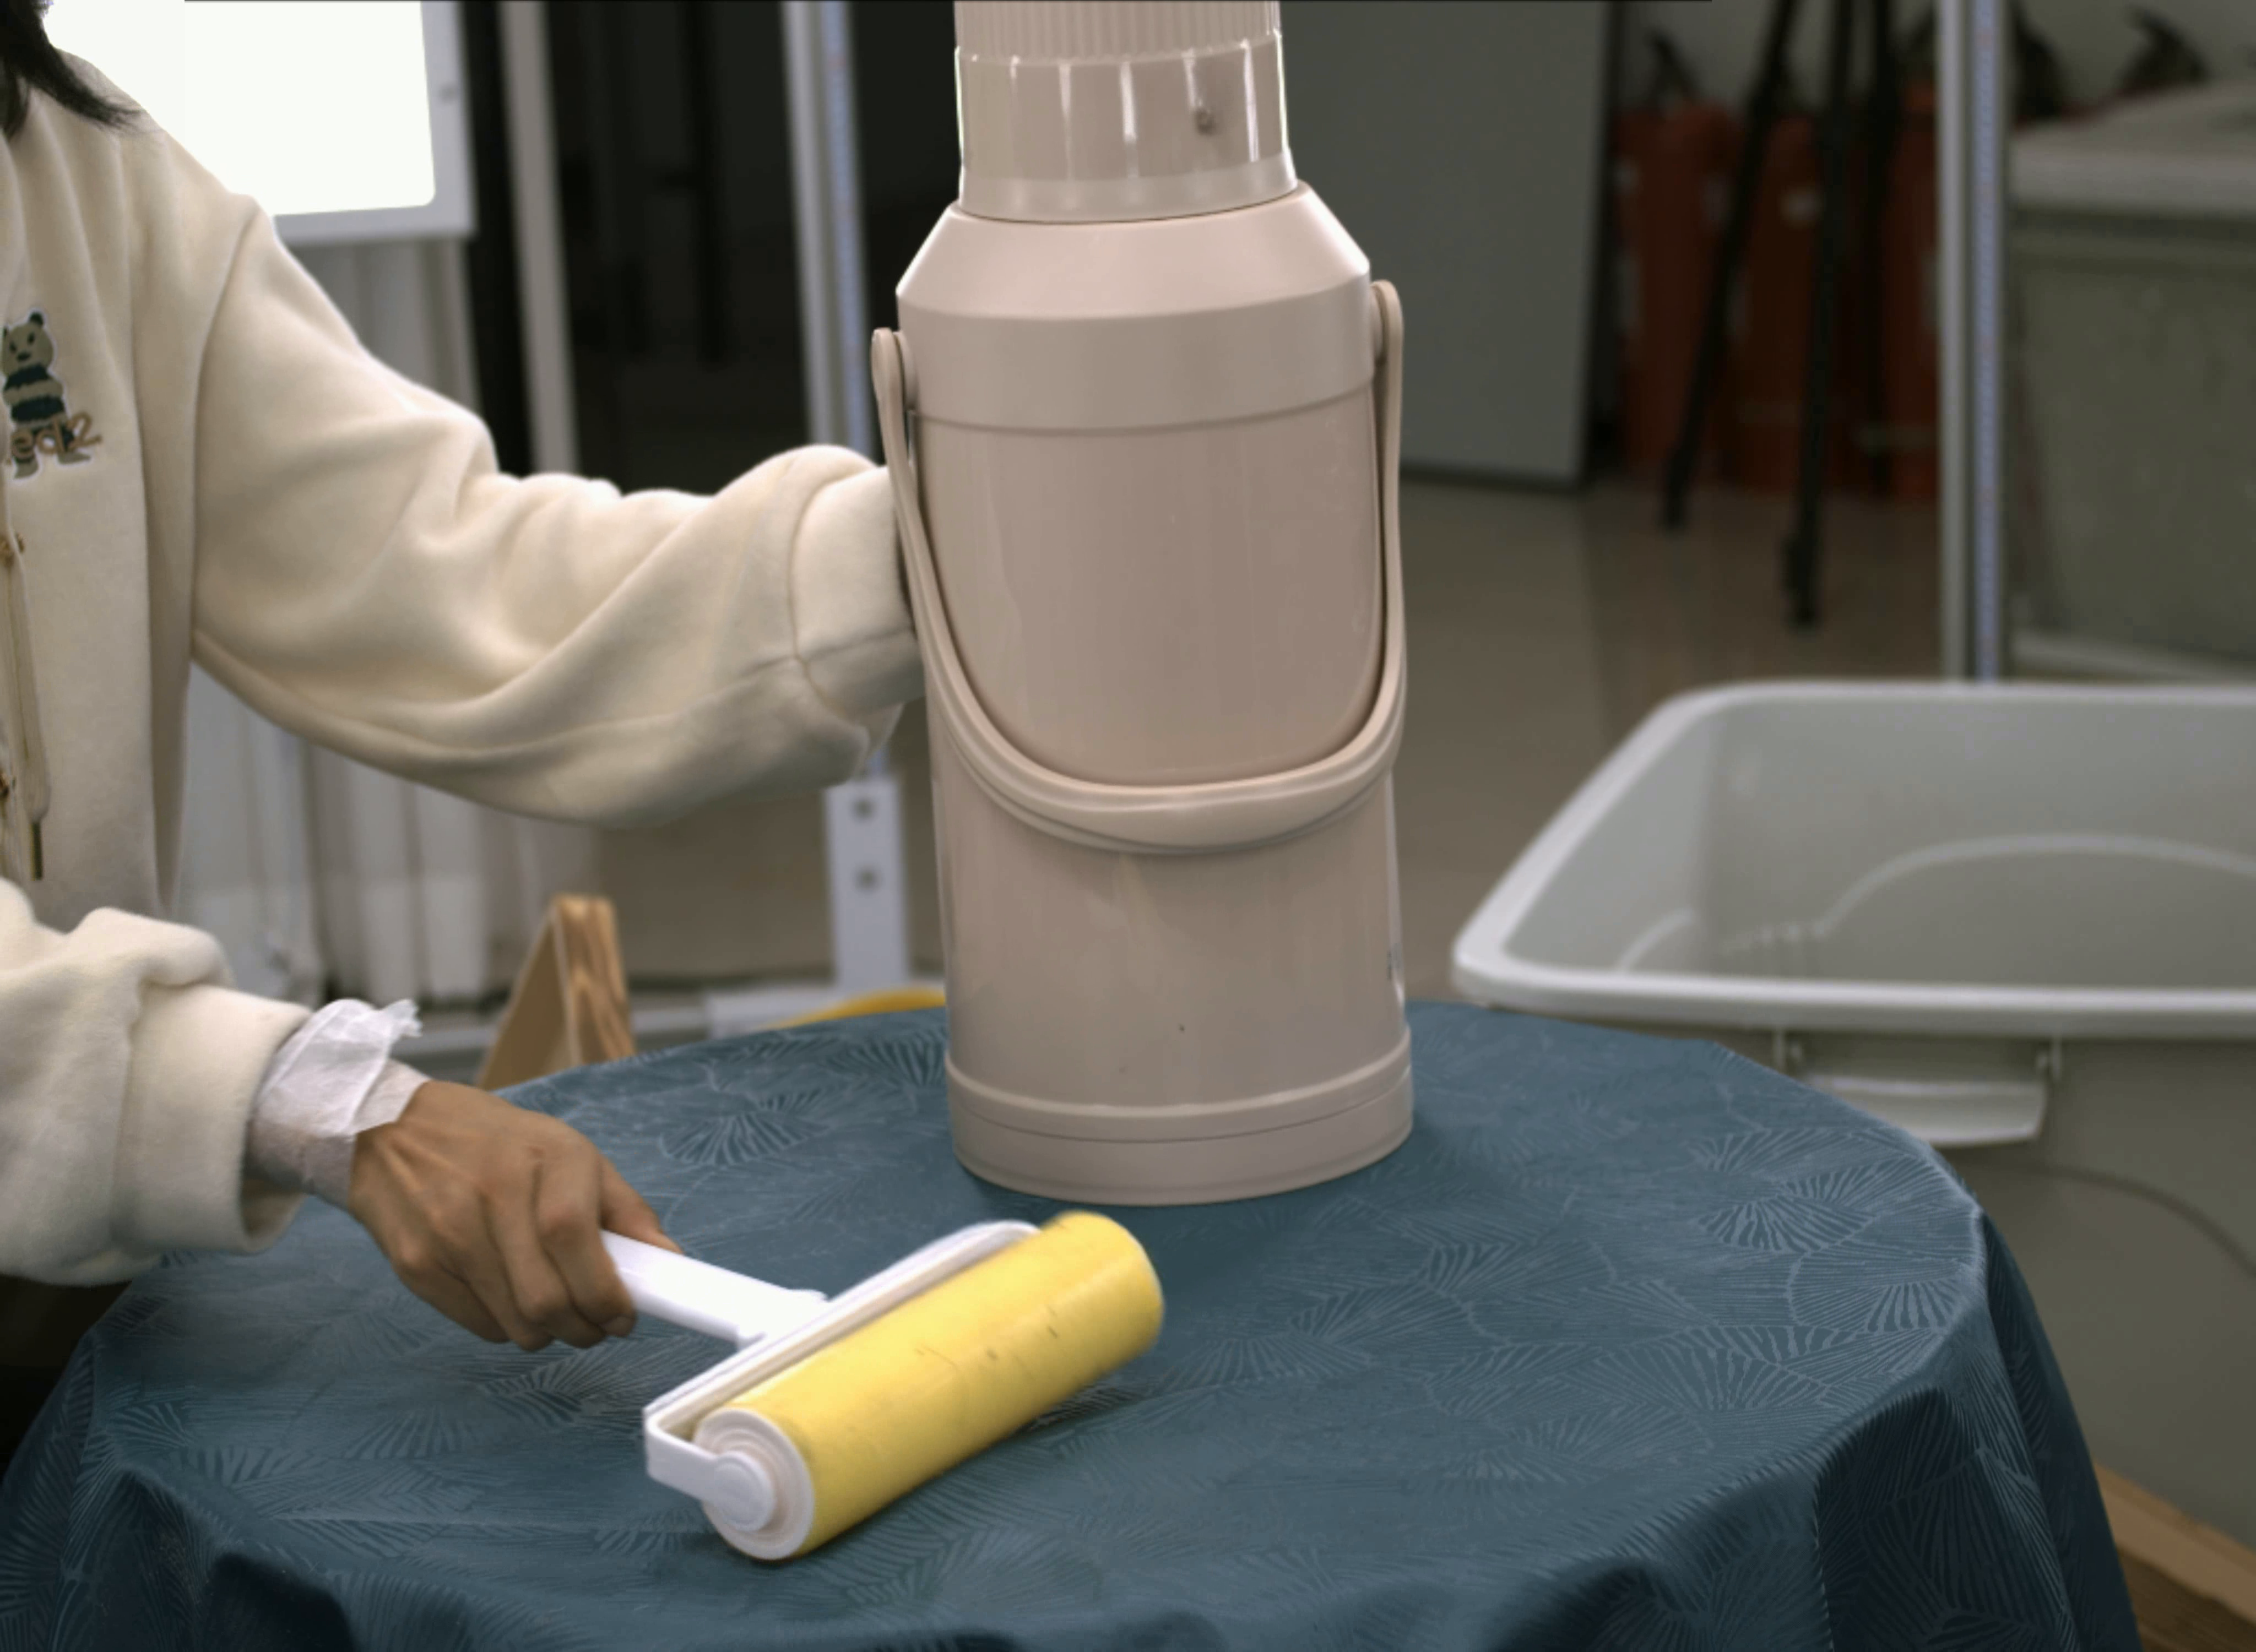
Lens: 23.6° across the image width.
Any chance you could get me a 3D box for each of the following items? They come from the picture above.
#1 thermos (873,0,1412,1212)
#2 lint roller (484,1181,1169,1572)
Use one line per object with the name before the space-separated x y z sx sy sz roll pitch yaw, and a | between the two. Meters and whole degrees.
thermos | 0.006 -0.091 1.793 0.172 0.411 0.208 -7 13 -11
lint roller | -0.109 0.132 1.559 0.193 0.052 0.171 28 31 28
